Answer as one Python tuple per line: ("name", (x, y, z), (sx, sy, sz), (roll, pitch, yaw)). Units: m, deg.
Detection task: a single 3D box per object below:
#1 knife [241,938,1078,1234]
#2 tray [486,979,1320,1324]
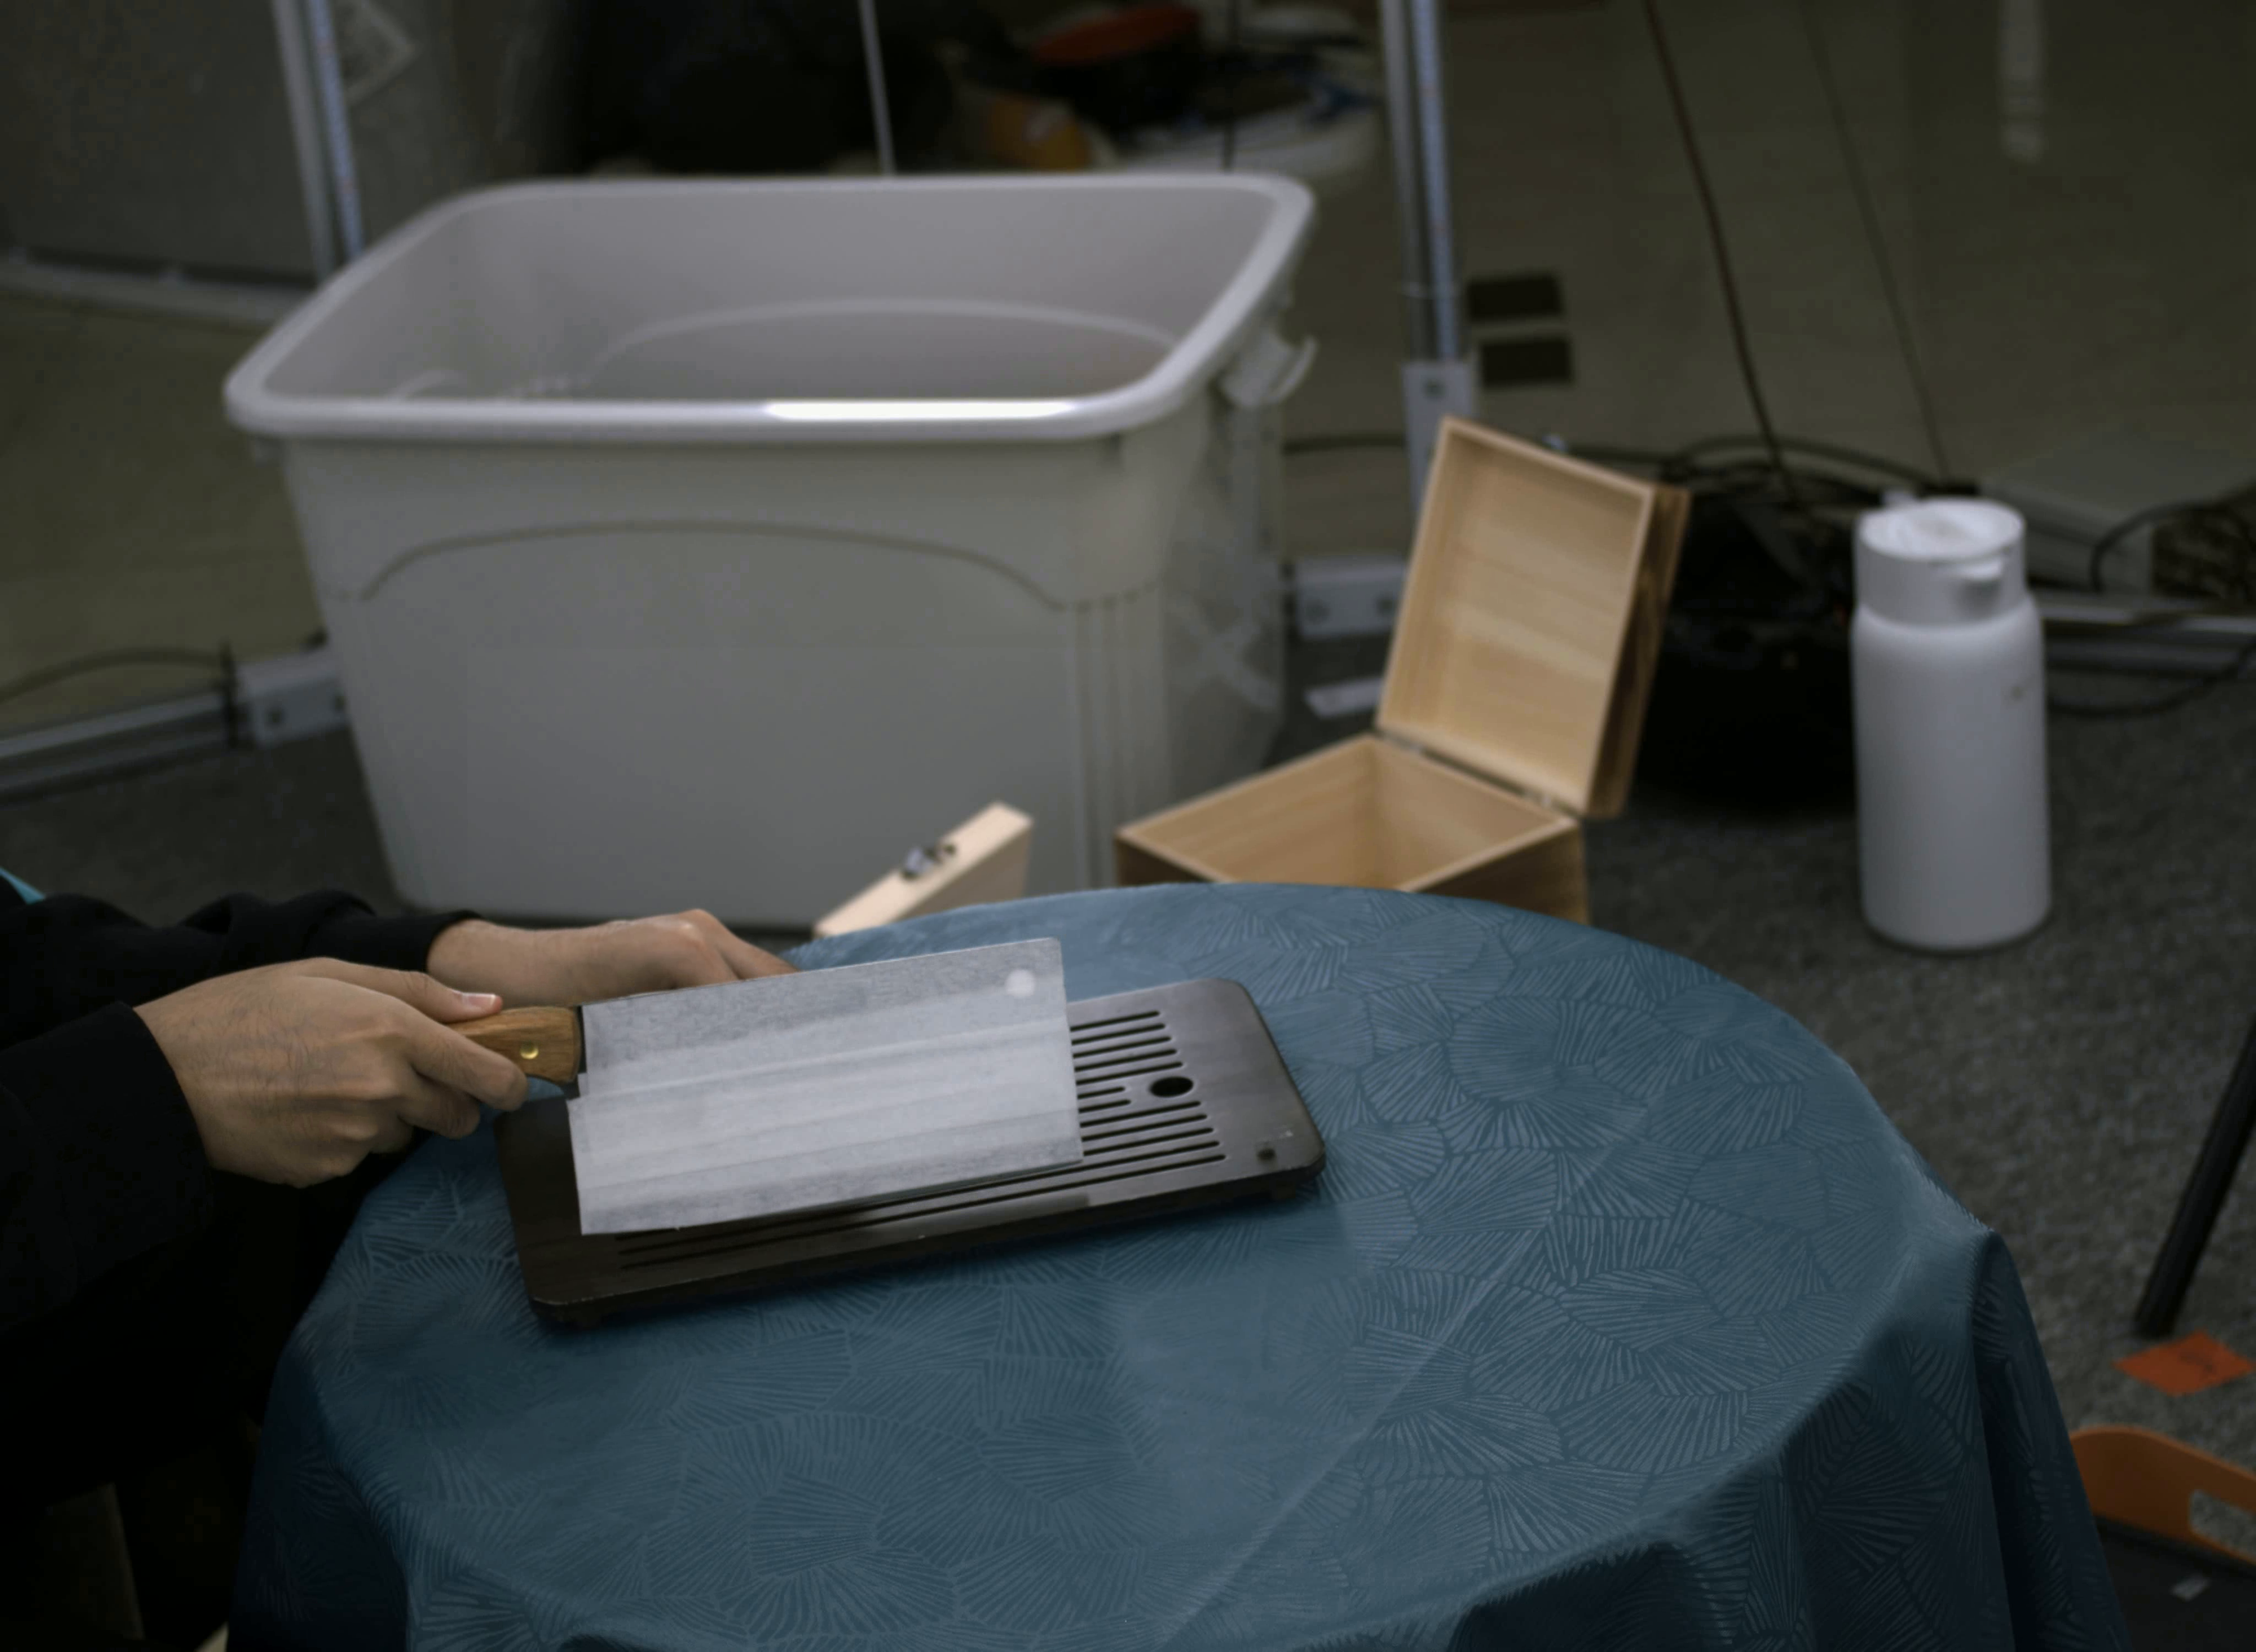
("knife", (-0.170, 0.103, 2.094), (0.305, 0.094, 0.021), (-8, 18, -7))
("tray", (-0.089, 0.124, 2.178), (0.305, 0.019, 0.168), (-10, 25, -7))
